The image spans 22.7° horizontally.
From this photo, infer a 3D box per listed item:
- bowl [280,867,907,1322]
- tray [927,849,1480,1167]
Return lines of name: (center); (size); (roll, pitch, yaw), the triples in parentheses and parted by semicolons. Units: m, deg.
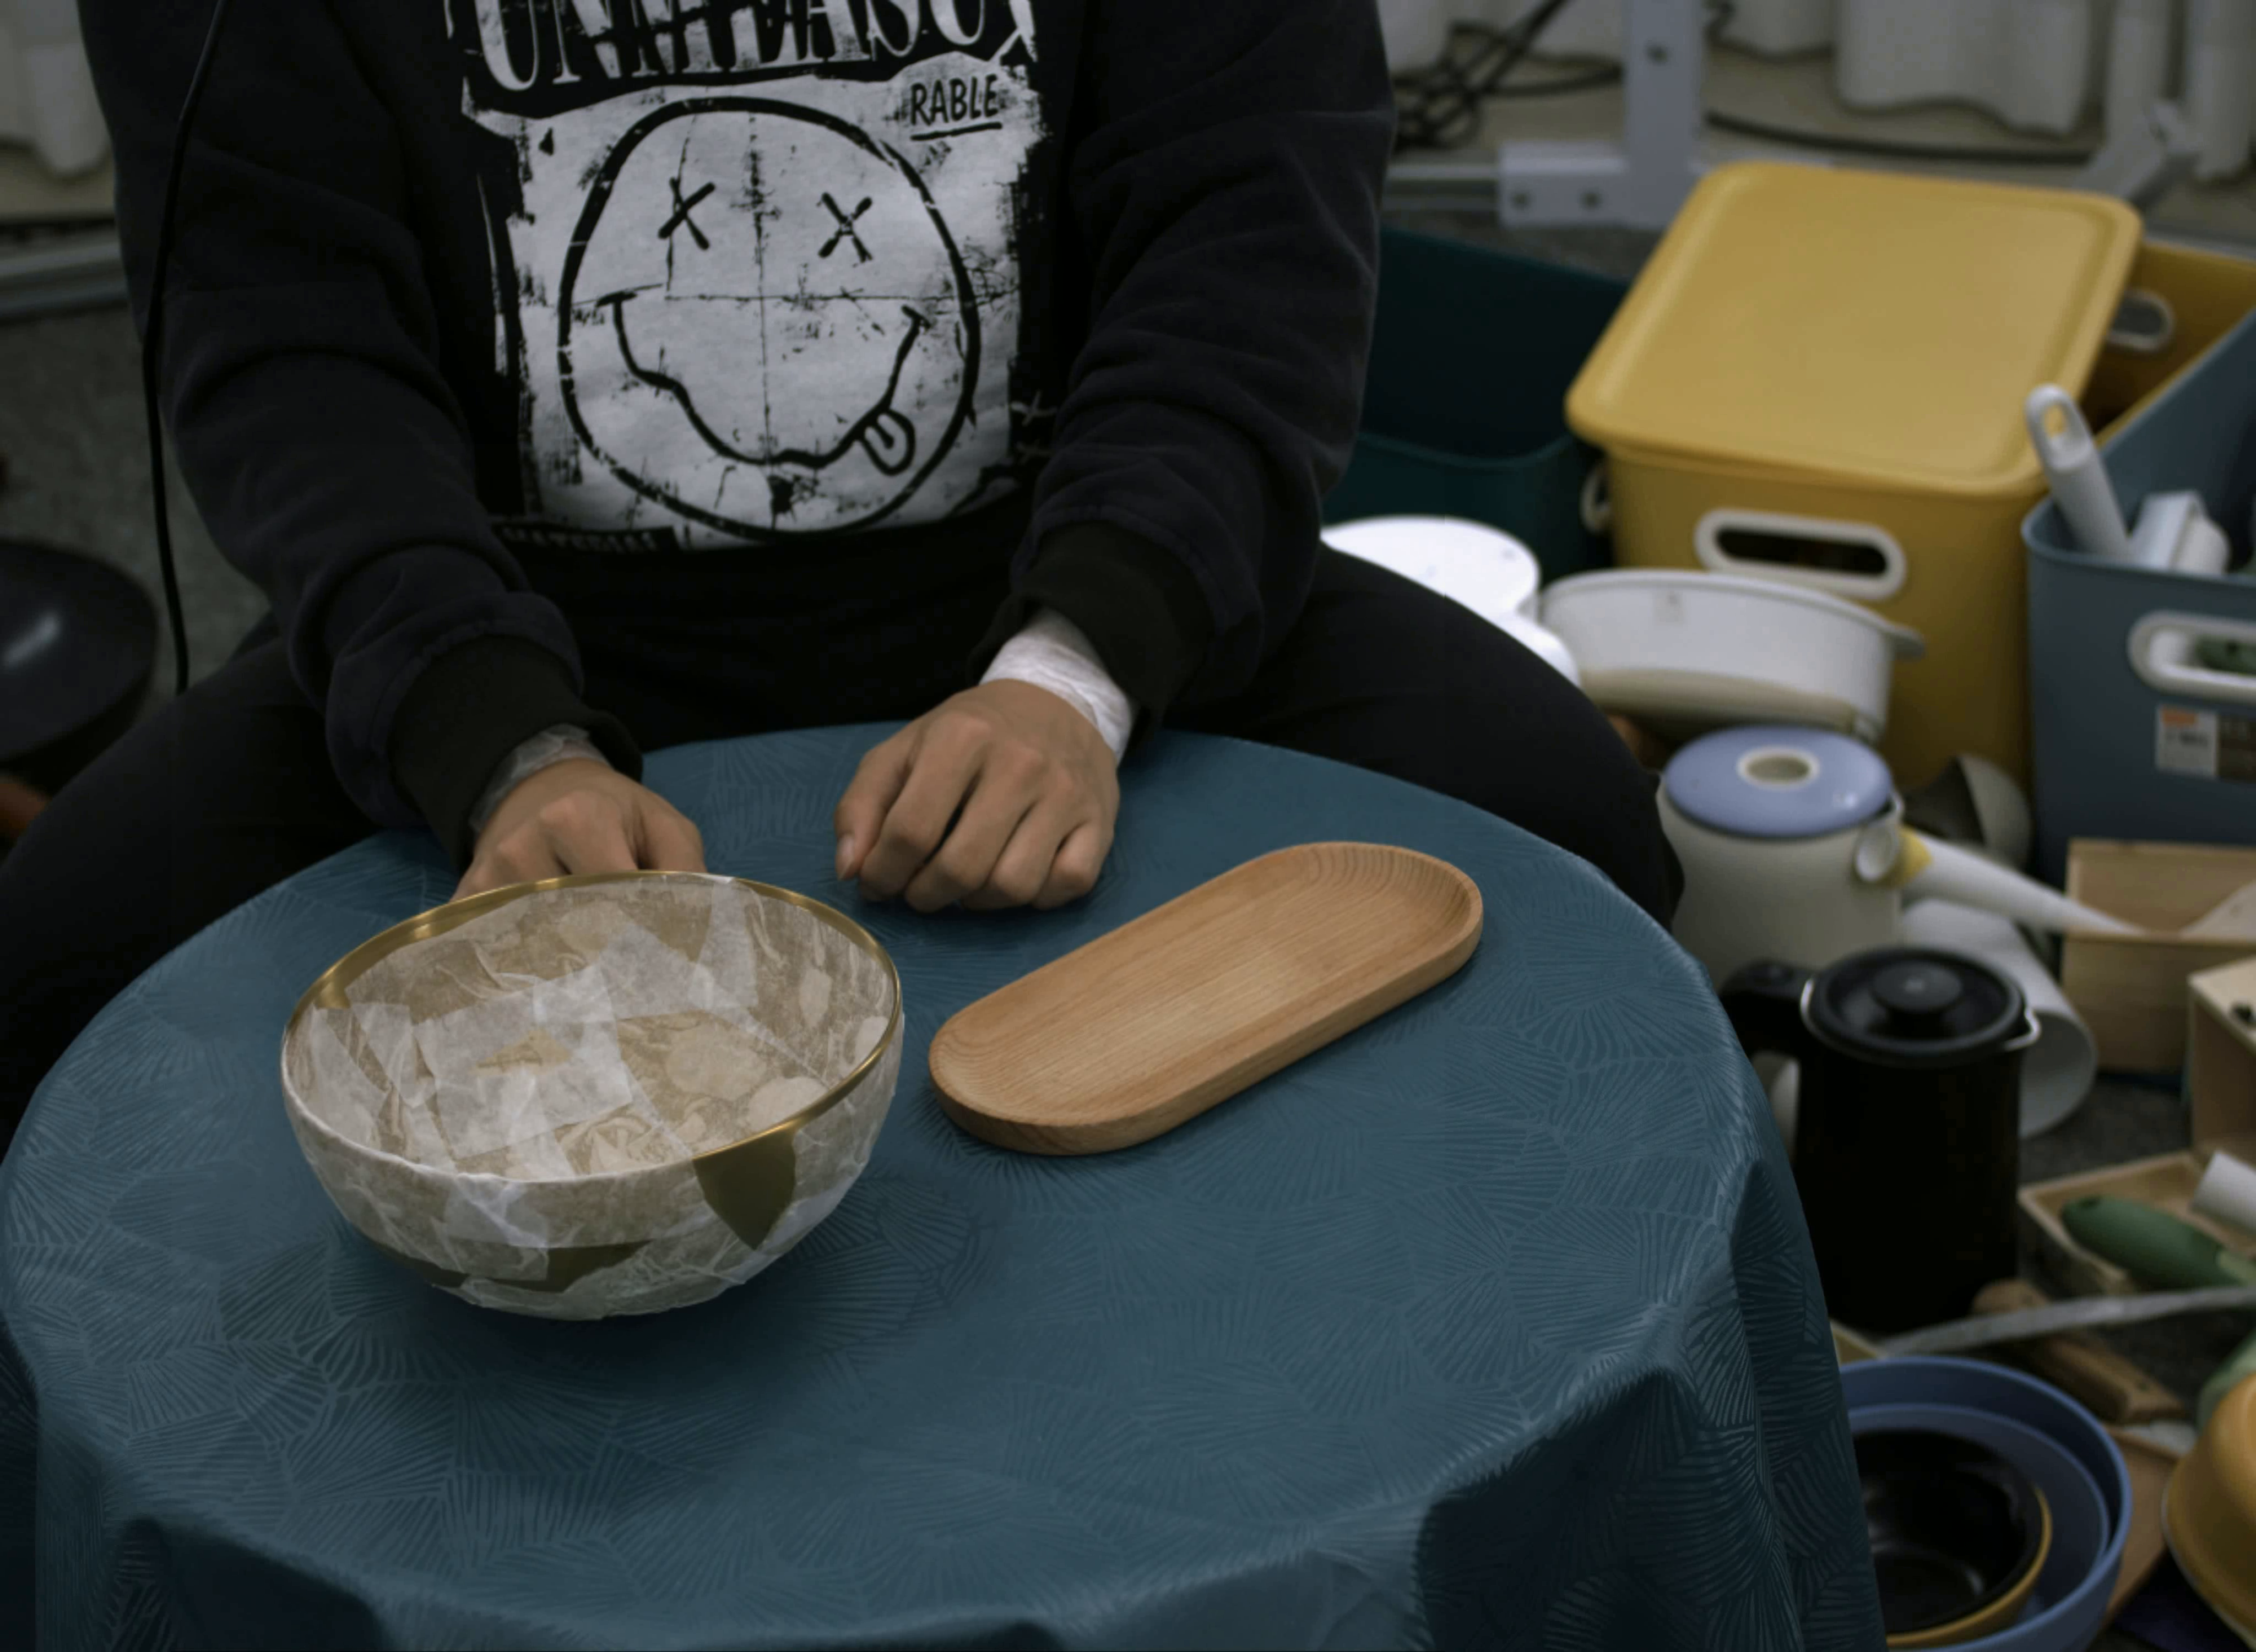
bowl: (-0.166, 0.099, 1.822); (0.213, 0.093, 0.218); (-3, 26, 2)
tray: (0.028, 0.062, 1.958); (0.101, 0.020, 0.234); (20, 37, 41)
